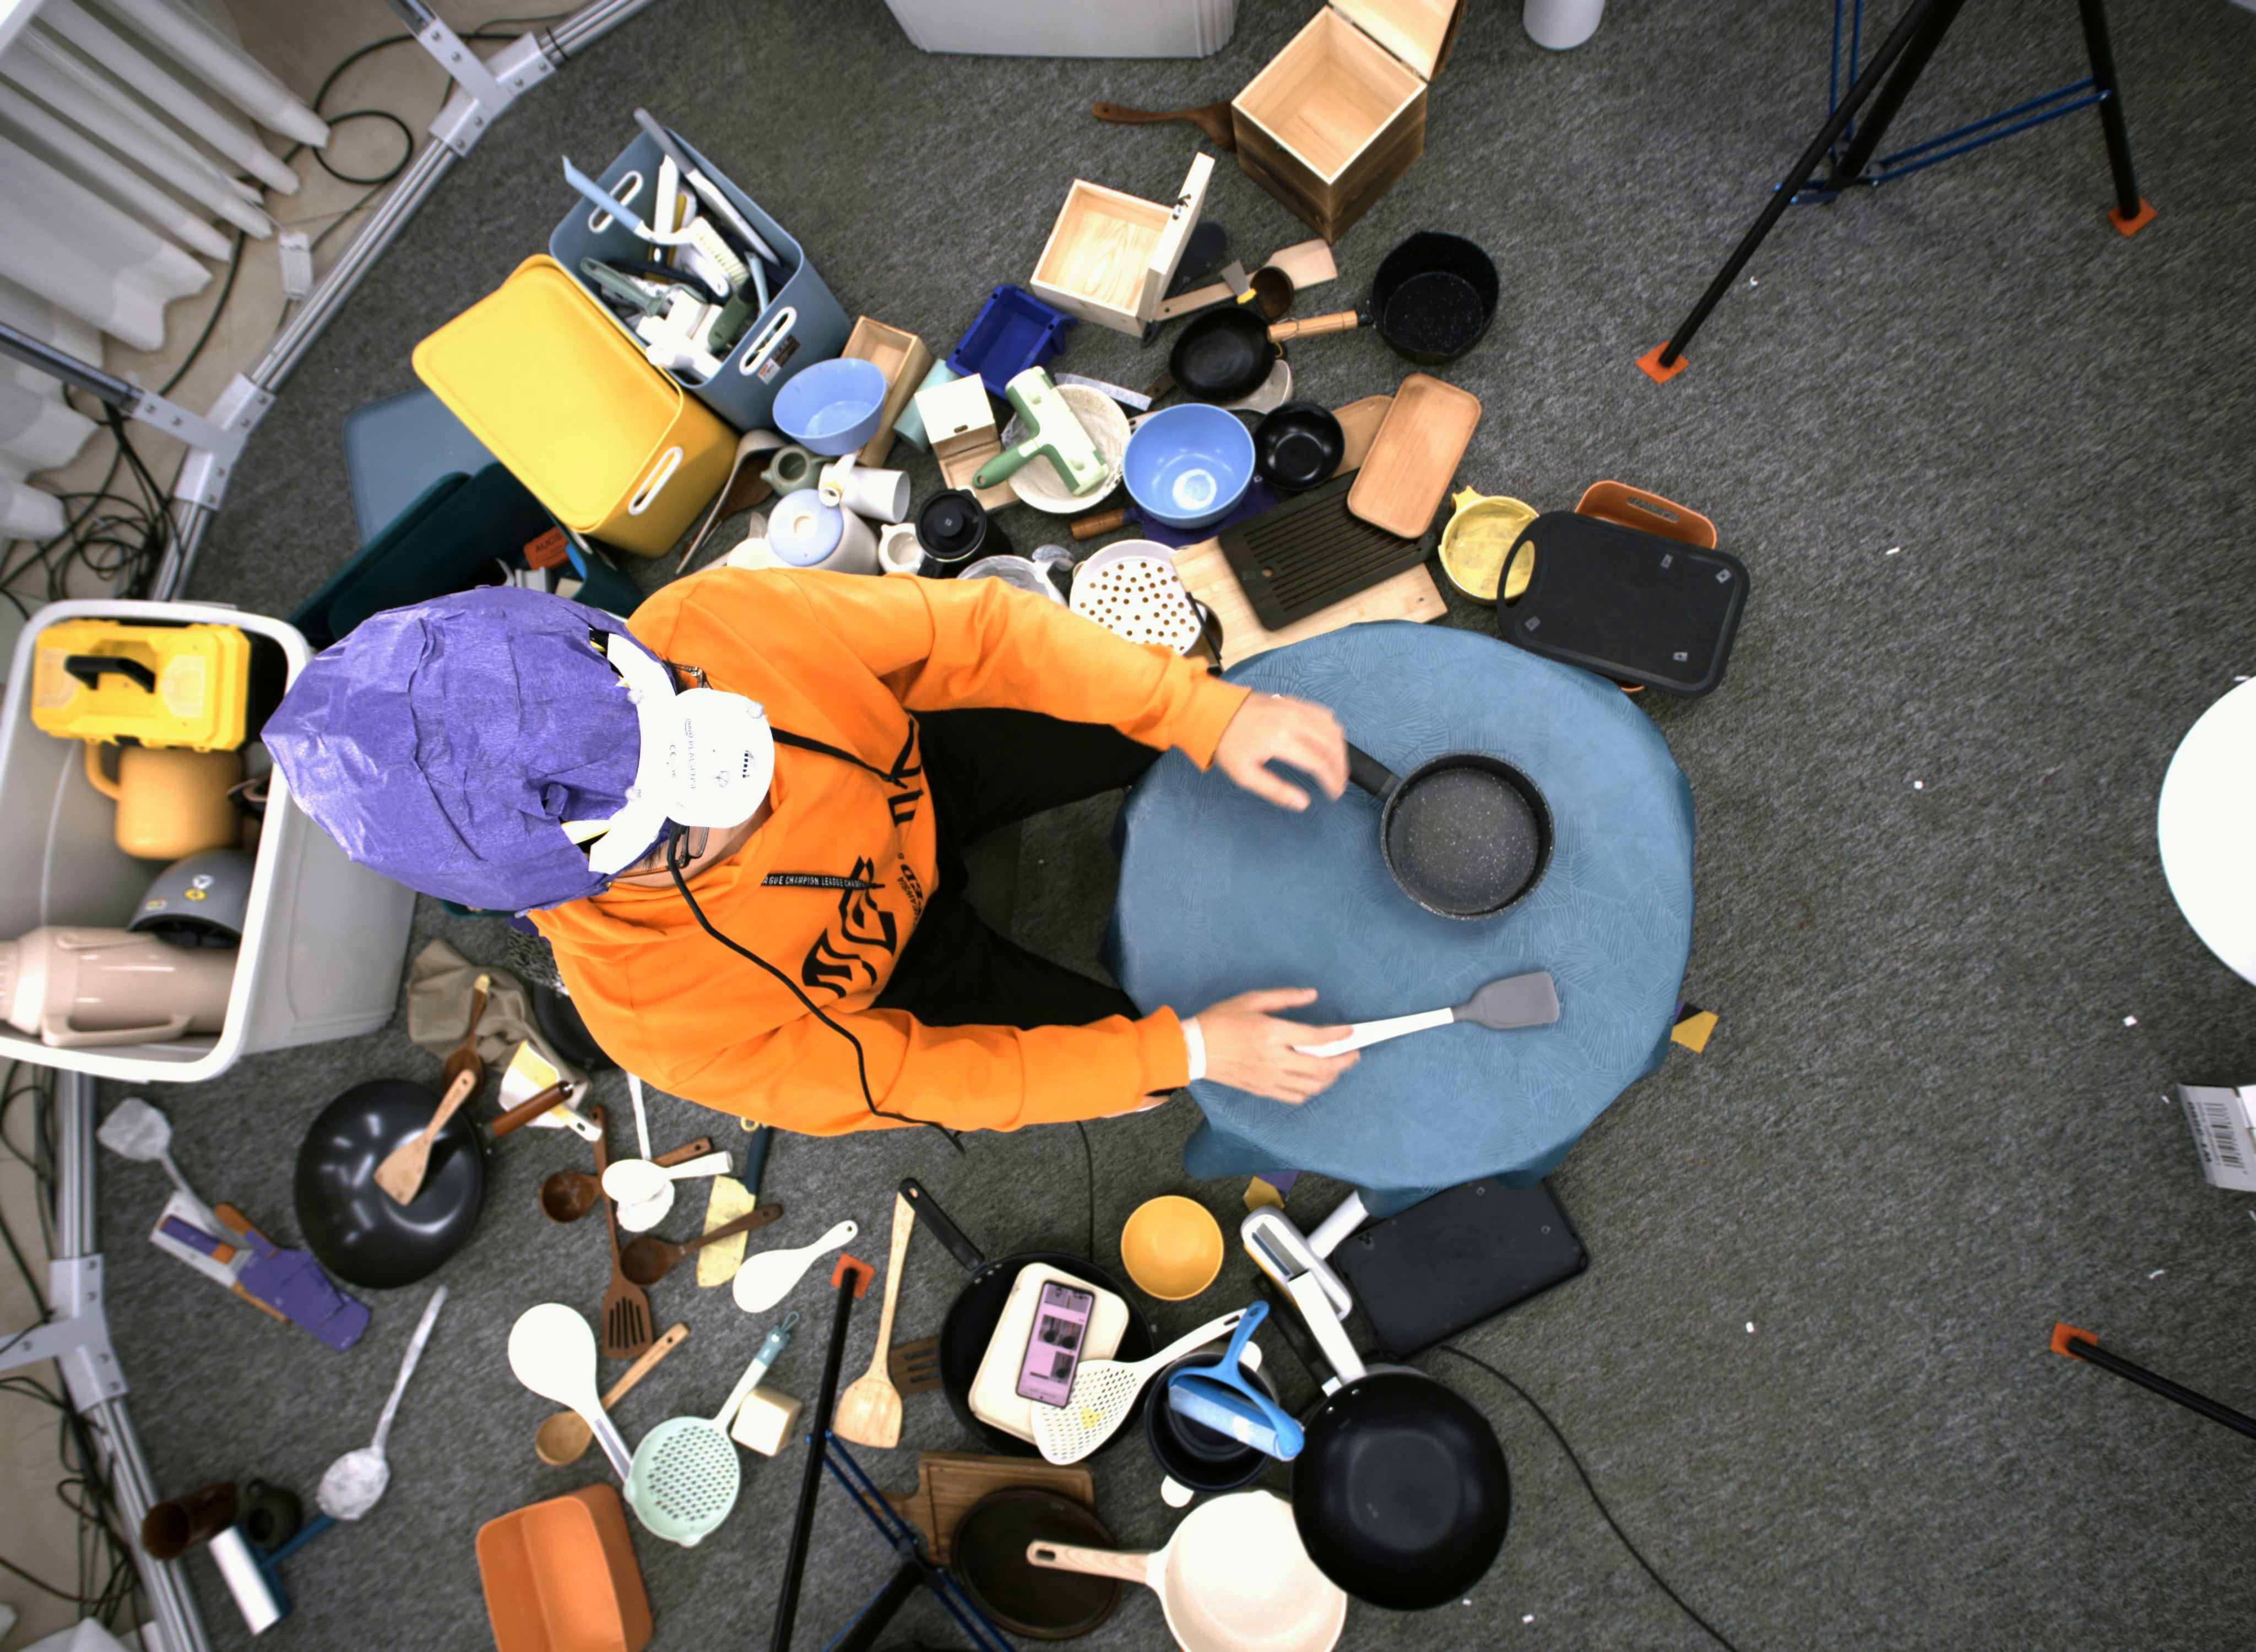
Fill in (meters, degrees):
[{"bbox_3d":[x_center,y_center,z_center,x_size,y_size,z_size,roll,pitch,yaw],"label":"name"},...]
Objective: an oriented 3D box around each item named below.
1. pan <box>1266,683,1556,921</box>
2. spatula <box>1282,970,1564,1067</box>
[{"bbox_3d":[0.282,-0.035,1.421,0.328,0.086,0.172,37,92,9],"label":"pan"},{"bbox_3d":[0.303,0.203,1.431,0.289,0.032,0.058,-14,80,10],"label":"spatula"}]
